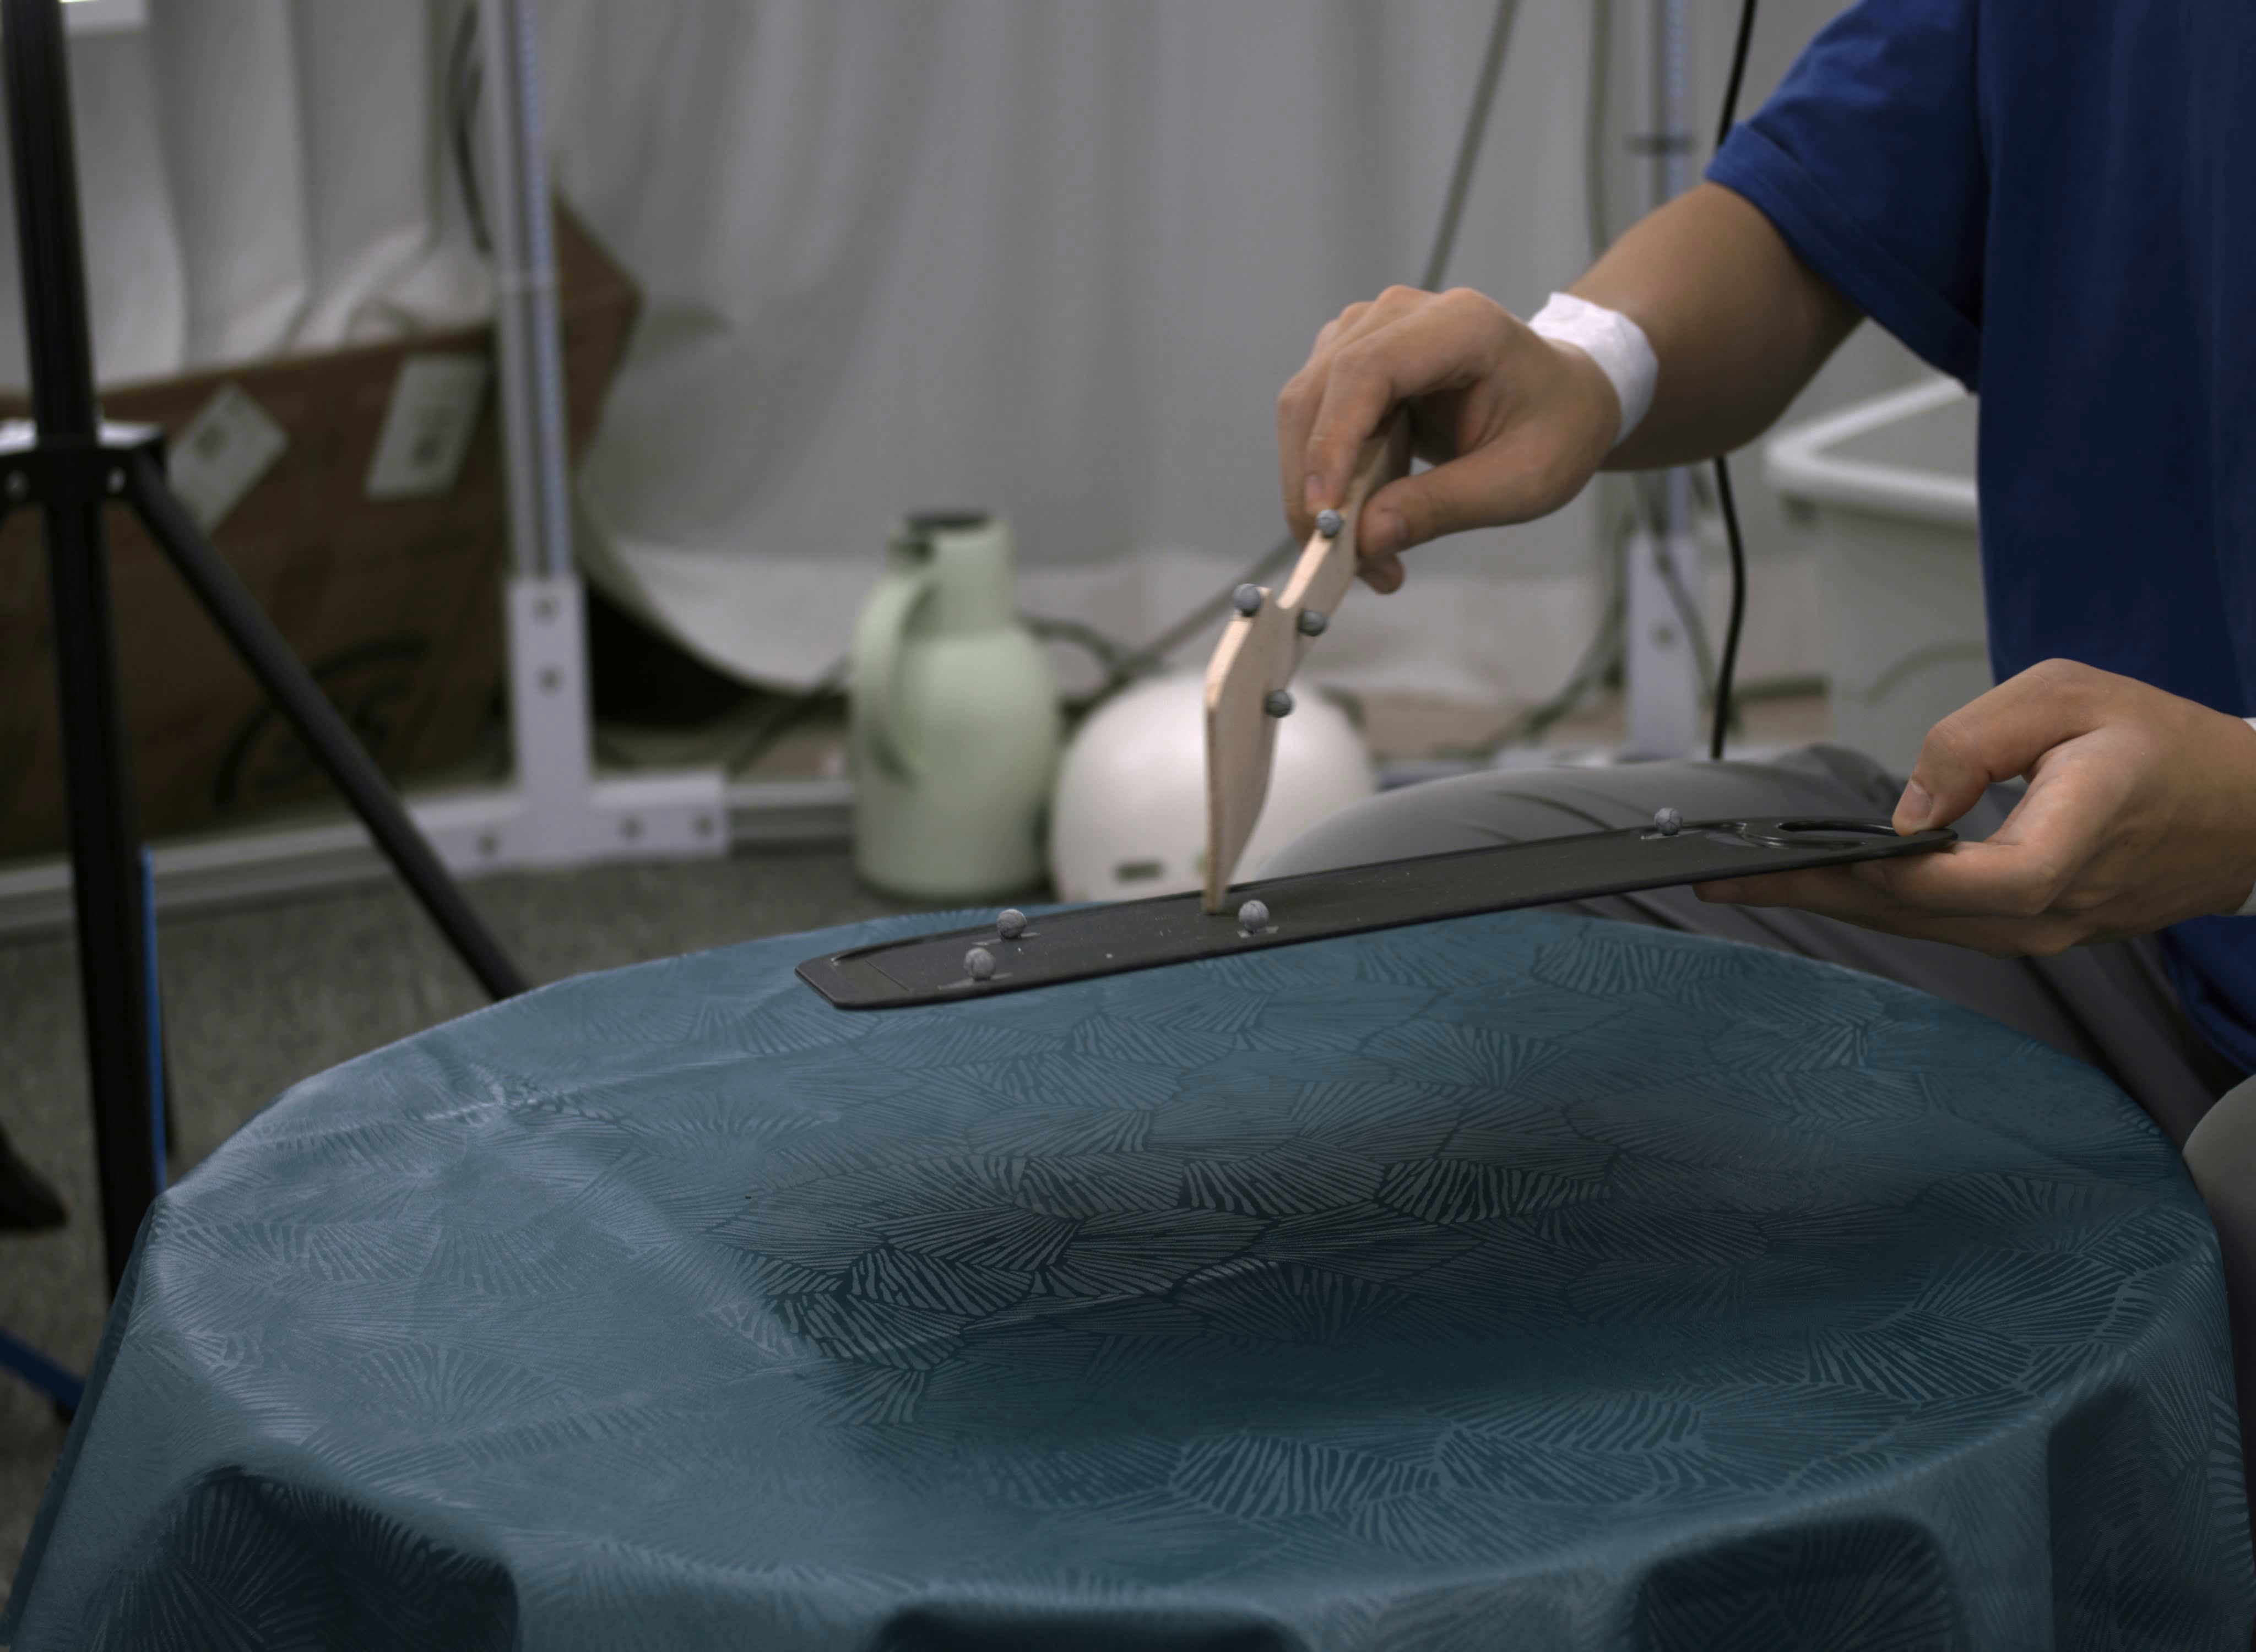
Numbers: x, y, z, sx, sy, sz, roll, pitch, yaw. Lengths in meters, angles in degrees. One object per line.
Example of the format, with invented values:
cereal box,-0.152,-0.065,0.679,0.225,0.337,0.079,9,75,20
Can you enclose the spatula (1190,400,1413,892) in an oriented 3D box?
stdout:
spatula,0.054,-0.068,1.622,0.011,0.072,0.291,6,27,13

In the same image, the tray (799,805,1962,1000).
tray,0.071,0.018,1.494,0.322,0.010,0.212,-8,3,-5
